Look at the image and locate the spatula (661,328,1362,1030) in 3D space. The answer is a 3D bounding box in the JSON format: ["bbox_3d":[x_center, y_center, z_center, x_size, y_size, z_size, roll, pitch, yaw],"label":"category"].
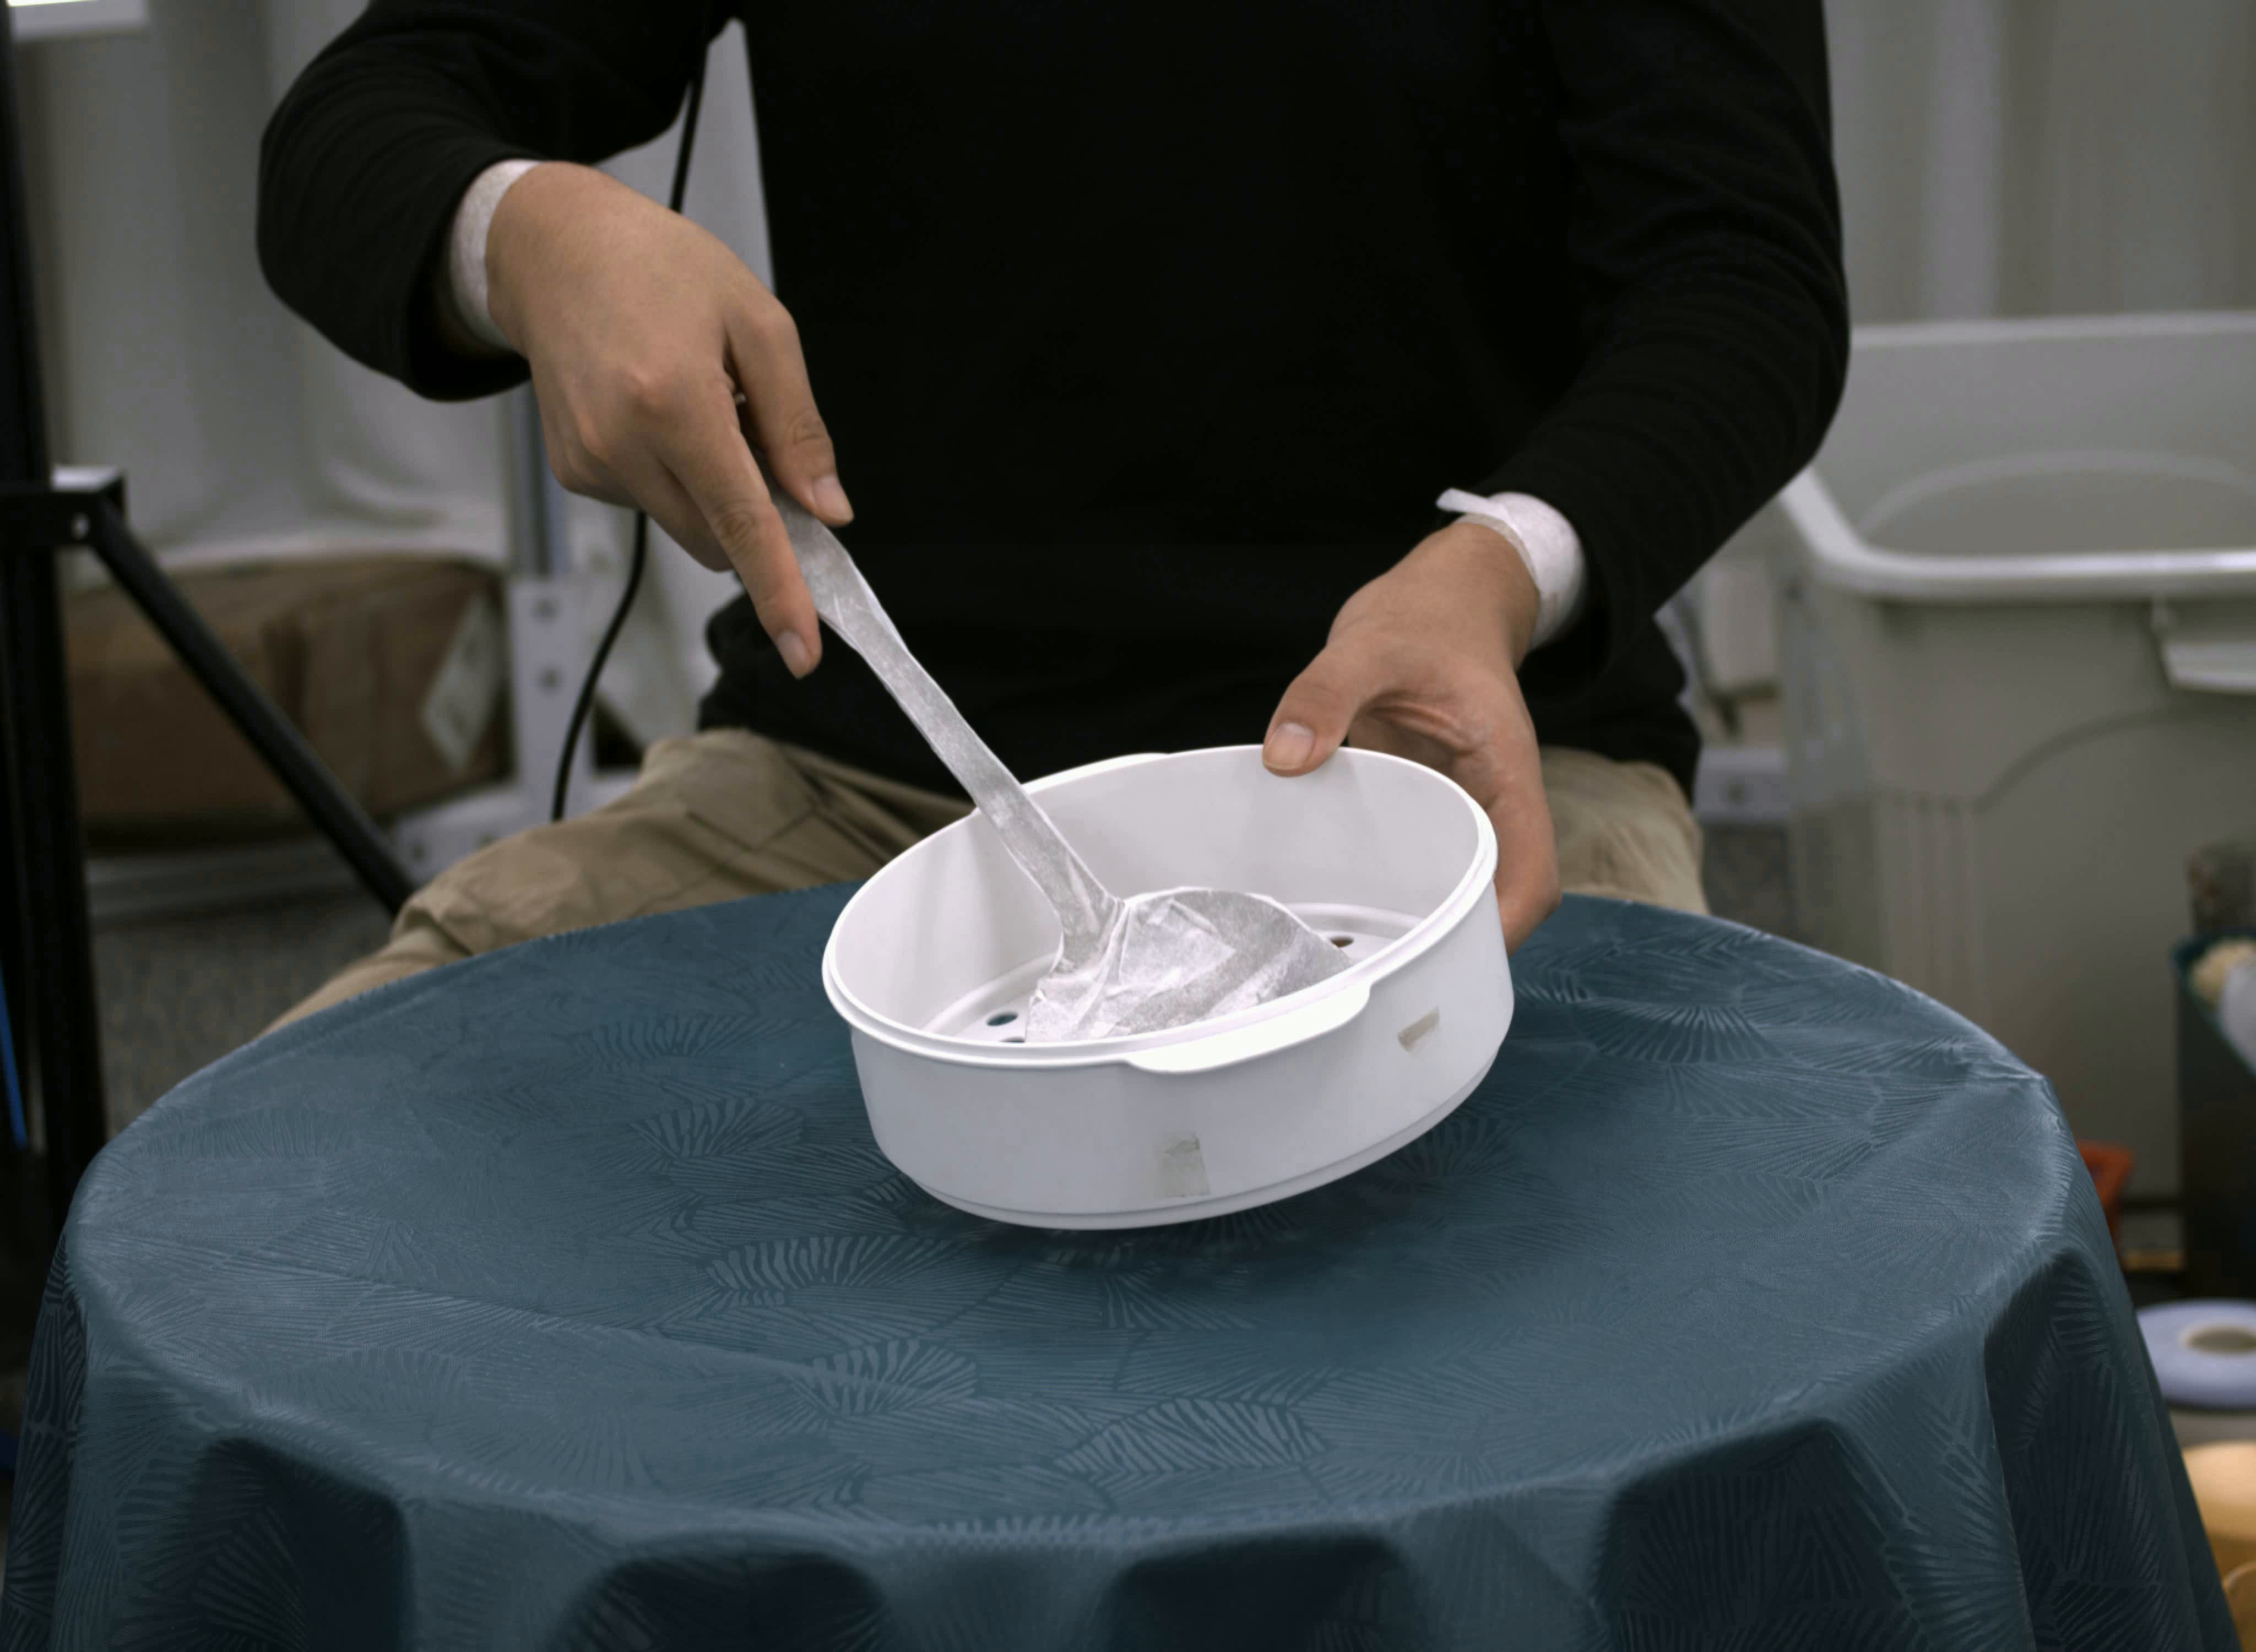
[{"bbox_3d":[-0.057,-0.038,1.622,0.098,0.044,0.372,-36,60,-4],"label":"spatula"}]

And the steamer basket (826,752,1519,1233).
[{"bbox_3d":[0.016,0.049,1.552,0.200,0.069,0.234,-15,23,-8],"label":"steamer basket"}]
